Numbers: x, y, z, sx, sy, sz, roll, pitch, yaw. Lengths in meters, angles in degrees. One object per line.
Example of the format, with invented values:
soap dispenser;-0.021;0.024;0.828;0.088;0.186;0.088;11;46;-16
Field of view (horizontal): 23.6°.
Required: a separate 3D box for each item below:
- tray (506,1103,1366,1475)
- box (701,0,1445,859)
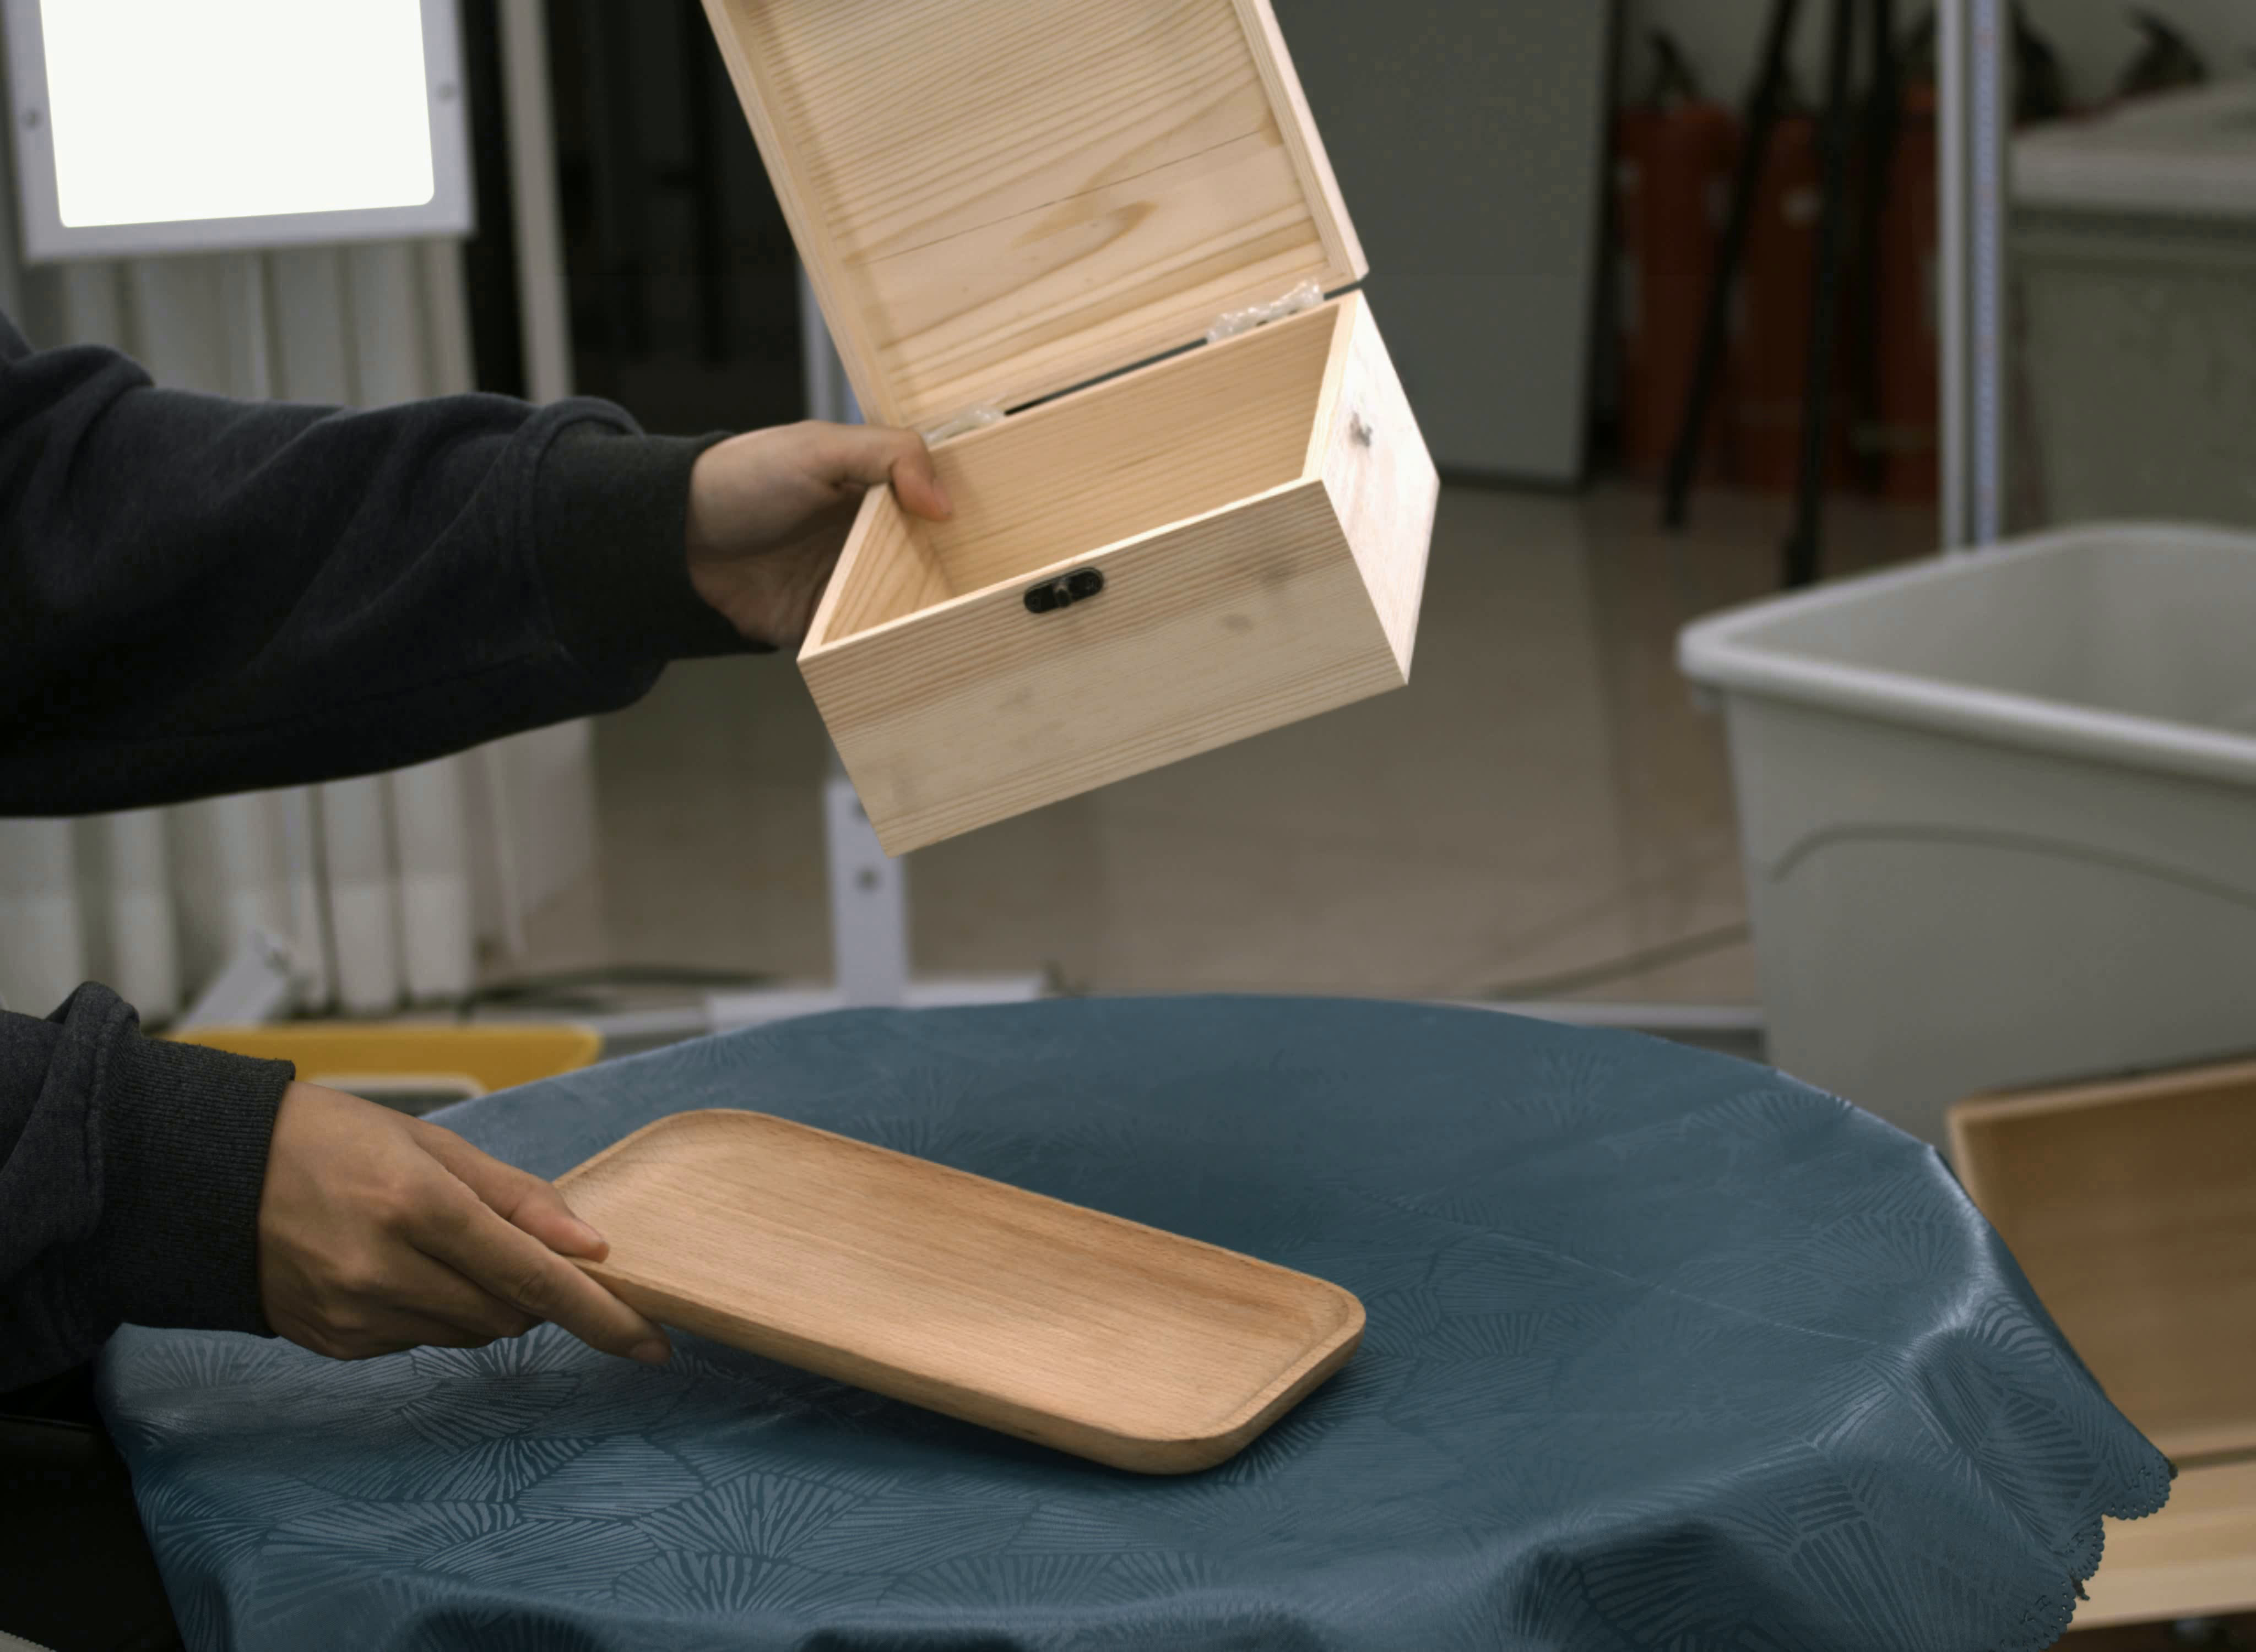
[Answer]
tray;-0.058;0.135;1.601;0.251;0.023;0.128;14;21;28
box;-0.030;-0.175;1.771;0.181;0.254;0.265;-22;18;15
